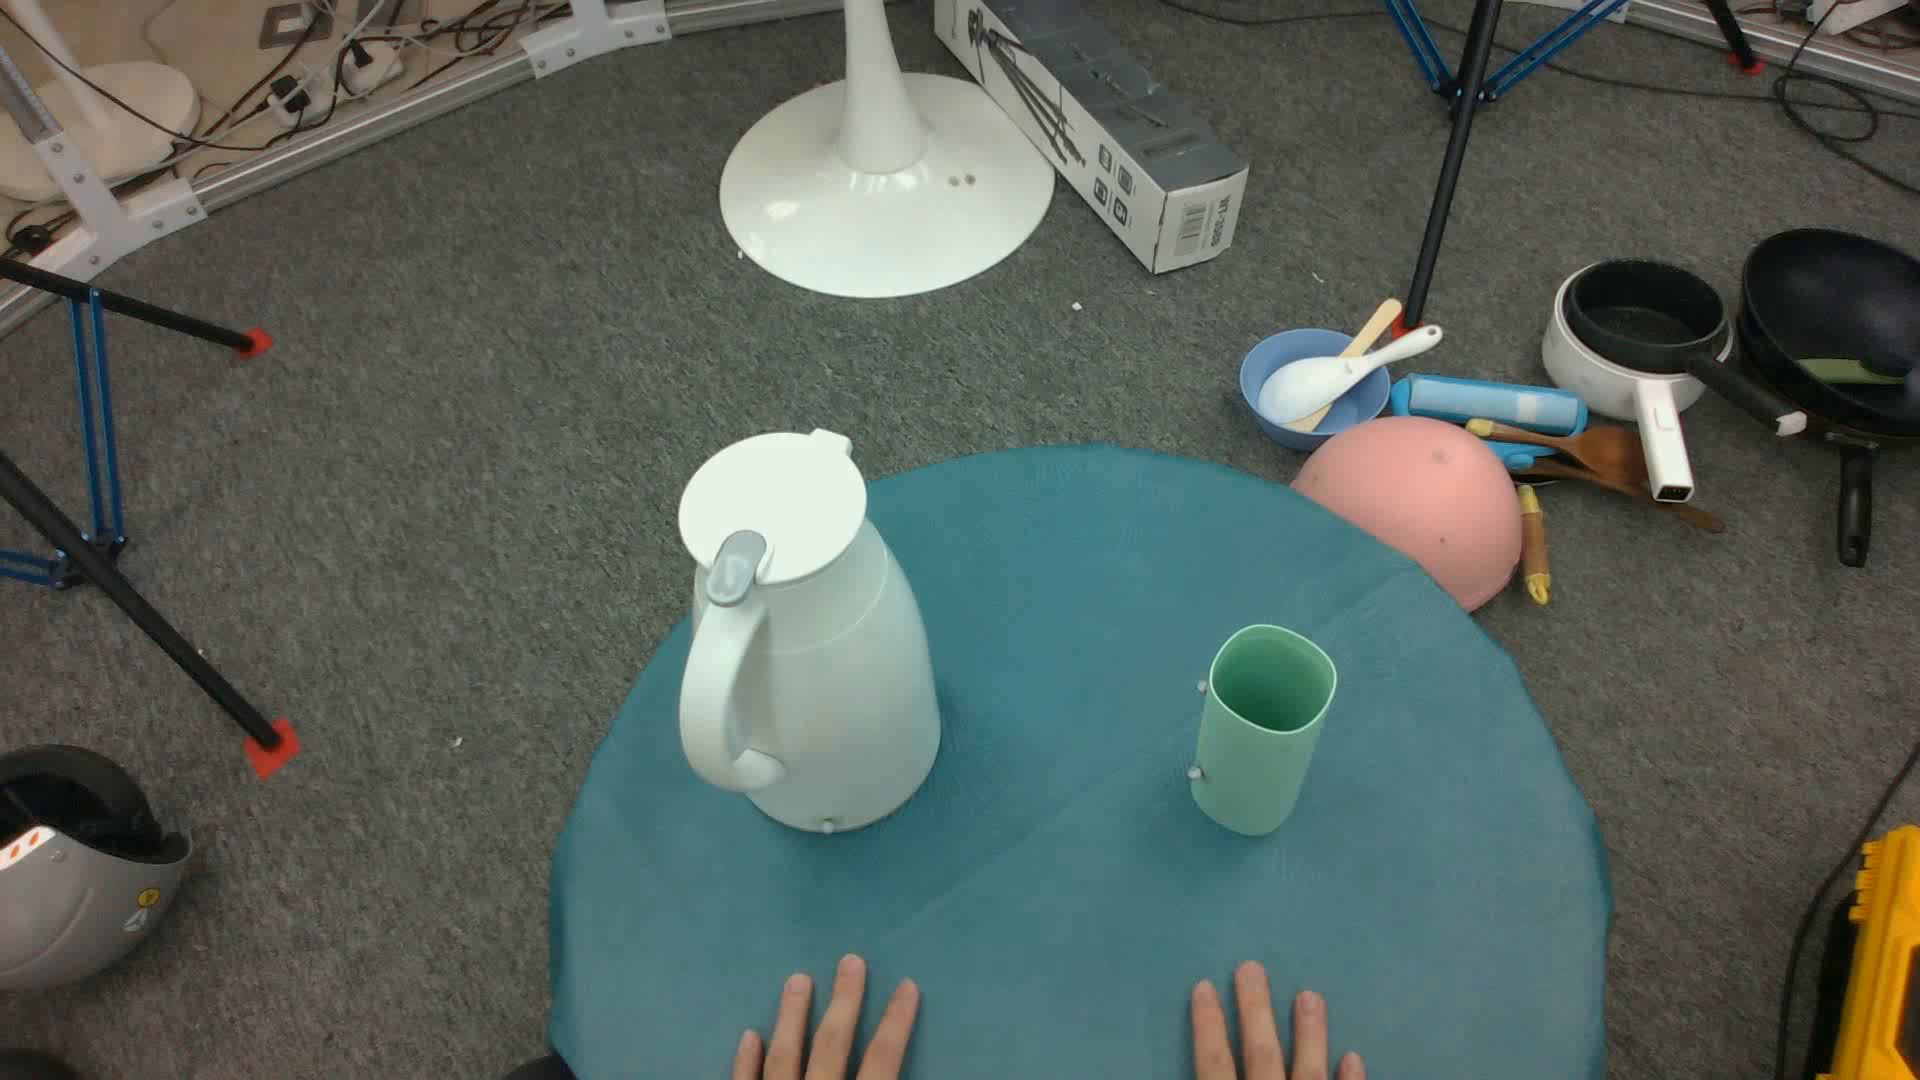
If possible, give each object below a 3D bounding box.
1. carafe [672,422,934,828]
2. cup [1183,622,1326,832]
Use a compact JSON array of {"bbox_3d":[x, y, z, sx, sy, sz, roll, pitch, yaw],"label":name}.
[{"bbox_3d":[-0.094,0.062,0.748,0.132,0.247,0.168,17,57,15],"label":"carafe"},{"bbox_3d":[0.164,0.109,0.777,0.067,0.132,0.067,-2,54,2],"label":"cup"}]
